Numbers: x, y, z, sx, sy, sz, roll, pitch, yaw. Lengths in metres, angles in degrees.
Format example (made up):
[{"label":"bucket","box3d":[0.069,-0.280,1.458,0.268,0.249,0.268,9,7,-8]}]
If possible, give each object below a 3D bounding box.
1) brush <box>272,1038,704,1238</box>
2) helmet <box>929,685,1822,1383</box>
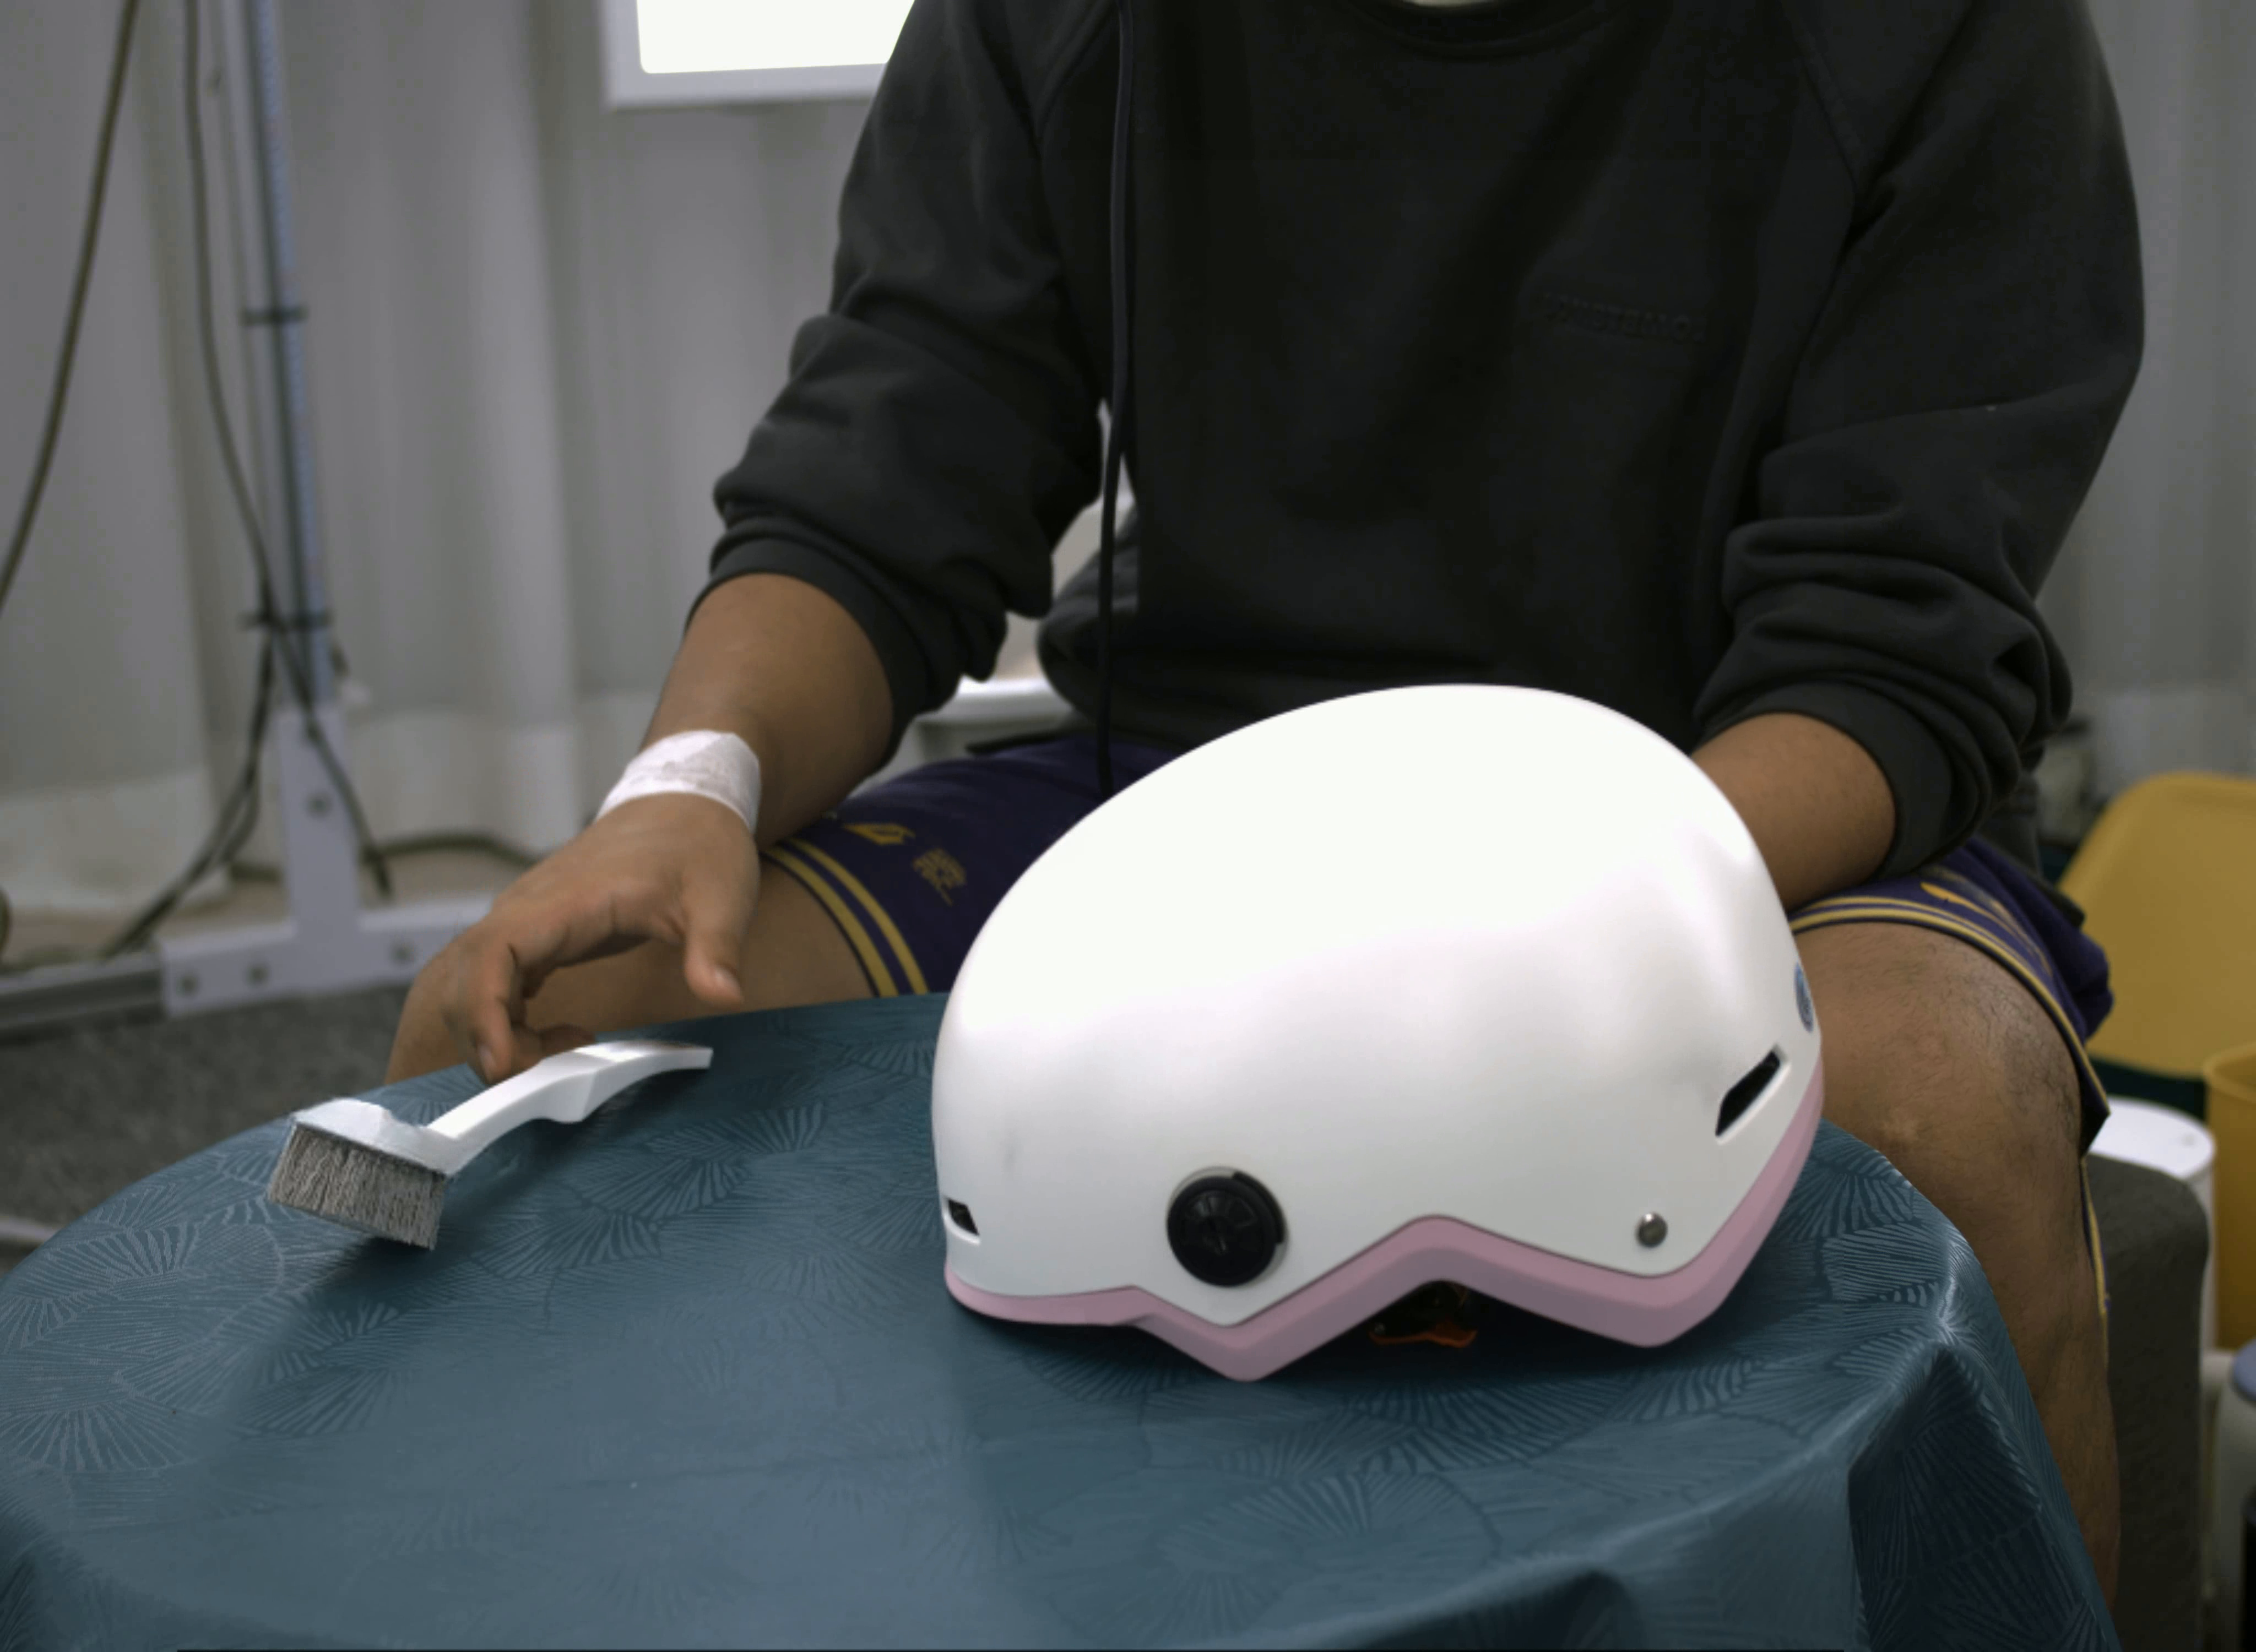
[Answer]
[{"label":"brush","box3d":[-0.200,0.100,1.763,0.034,0.050,0.243,8,5,22]},{"label":"helmet","box3d":[0.067,0.046,1.615,0.268,0.166,0.238,-3,18,14]}]
